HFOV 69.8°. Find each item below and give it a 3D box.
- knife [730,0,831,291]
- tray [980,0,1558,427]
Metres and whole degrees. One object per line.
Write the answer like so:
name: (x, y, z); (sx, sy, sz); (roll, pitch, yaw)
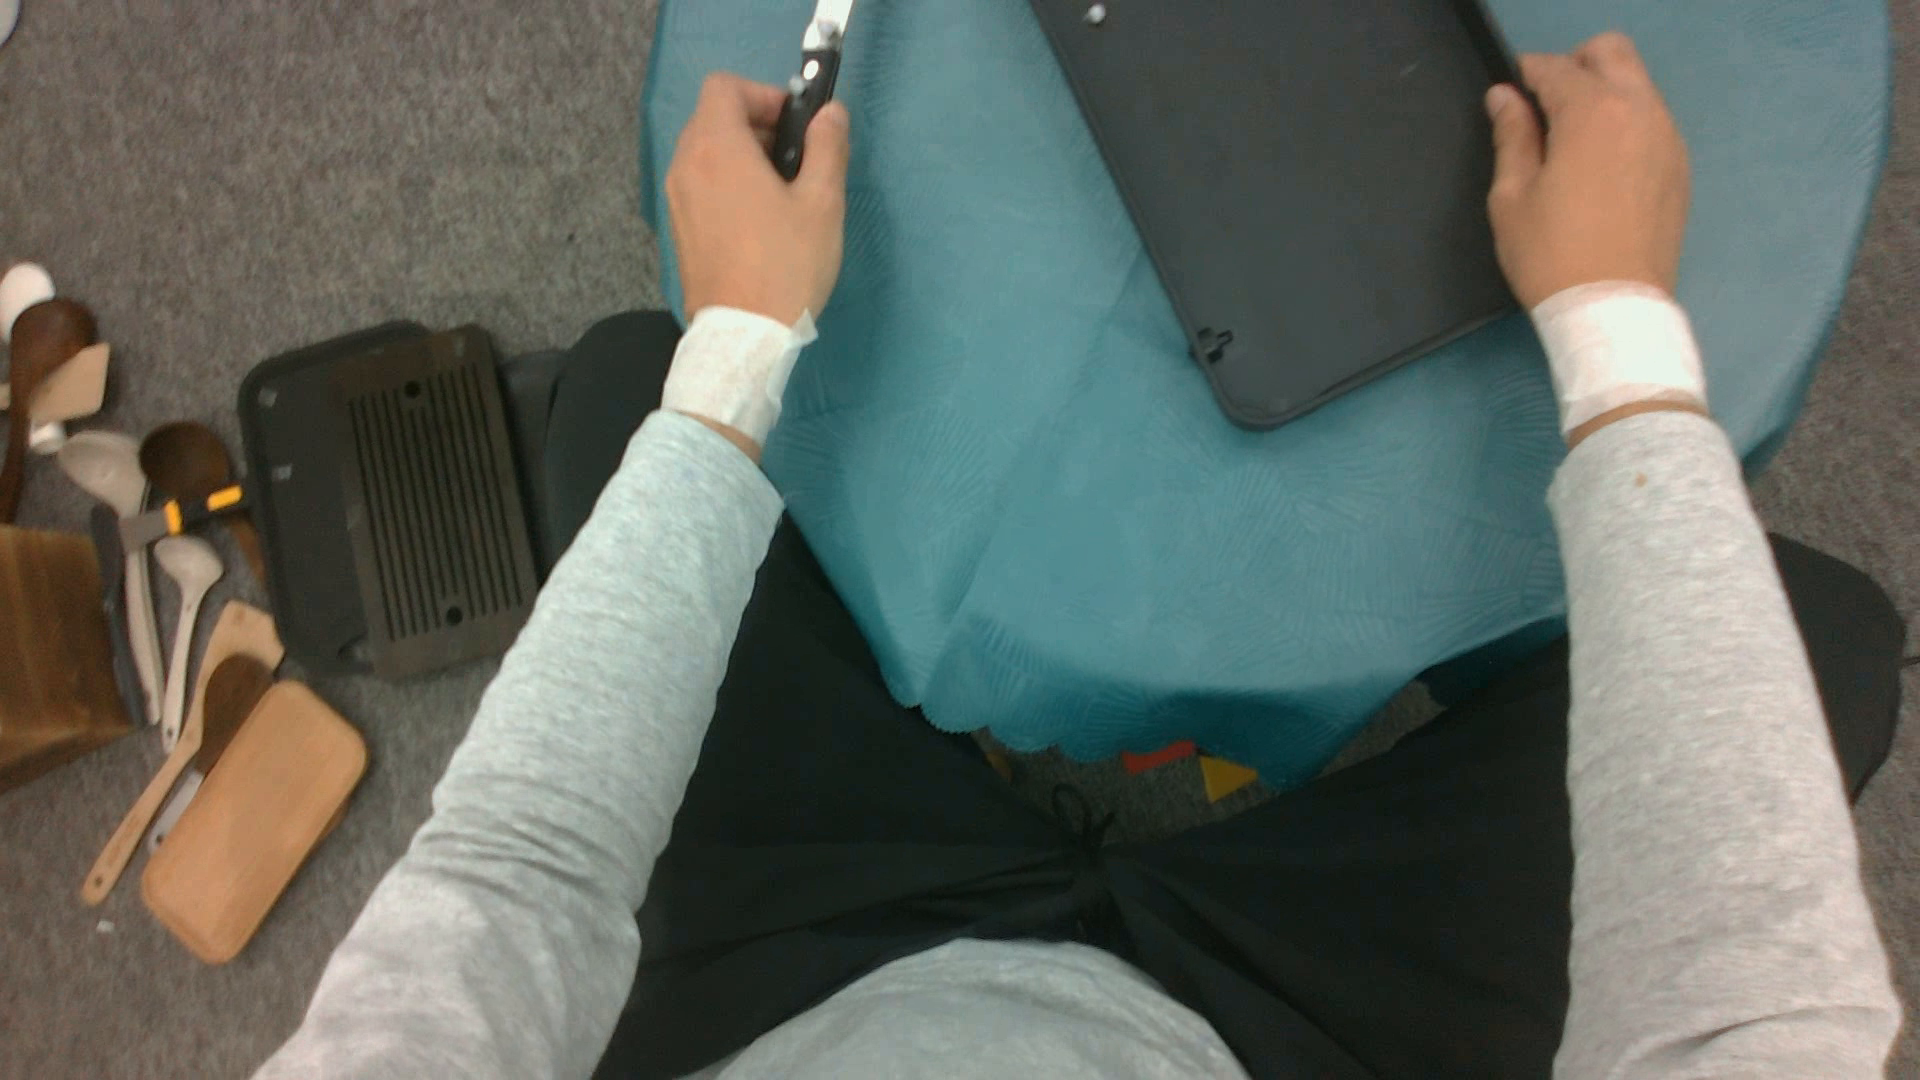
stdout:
knife: (-0.081, -0.238, 0.693); (0.024, 0.016, 0.238); (6, 79, 26)
tray: (0.133, -0.227, 0.675); (0.184, 0.037, 0.318); (-27, 81, 5)
